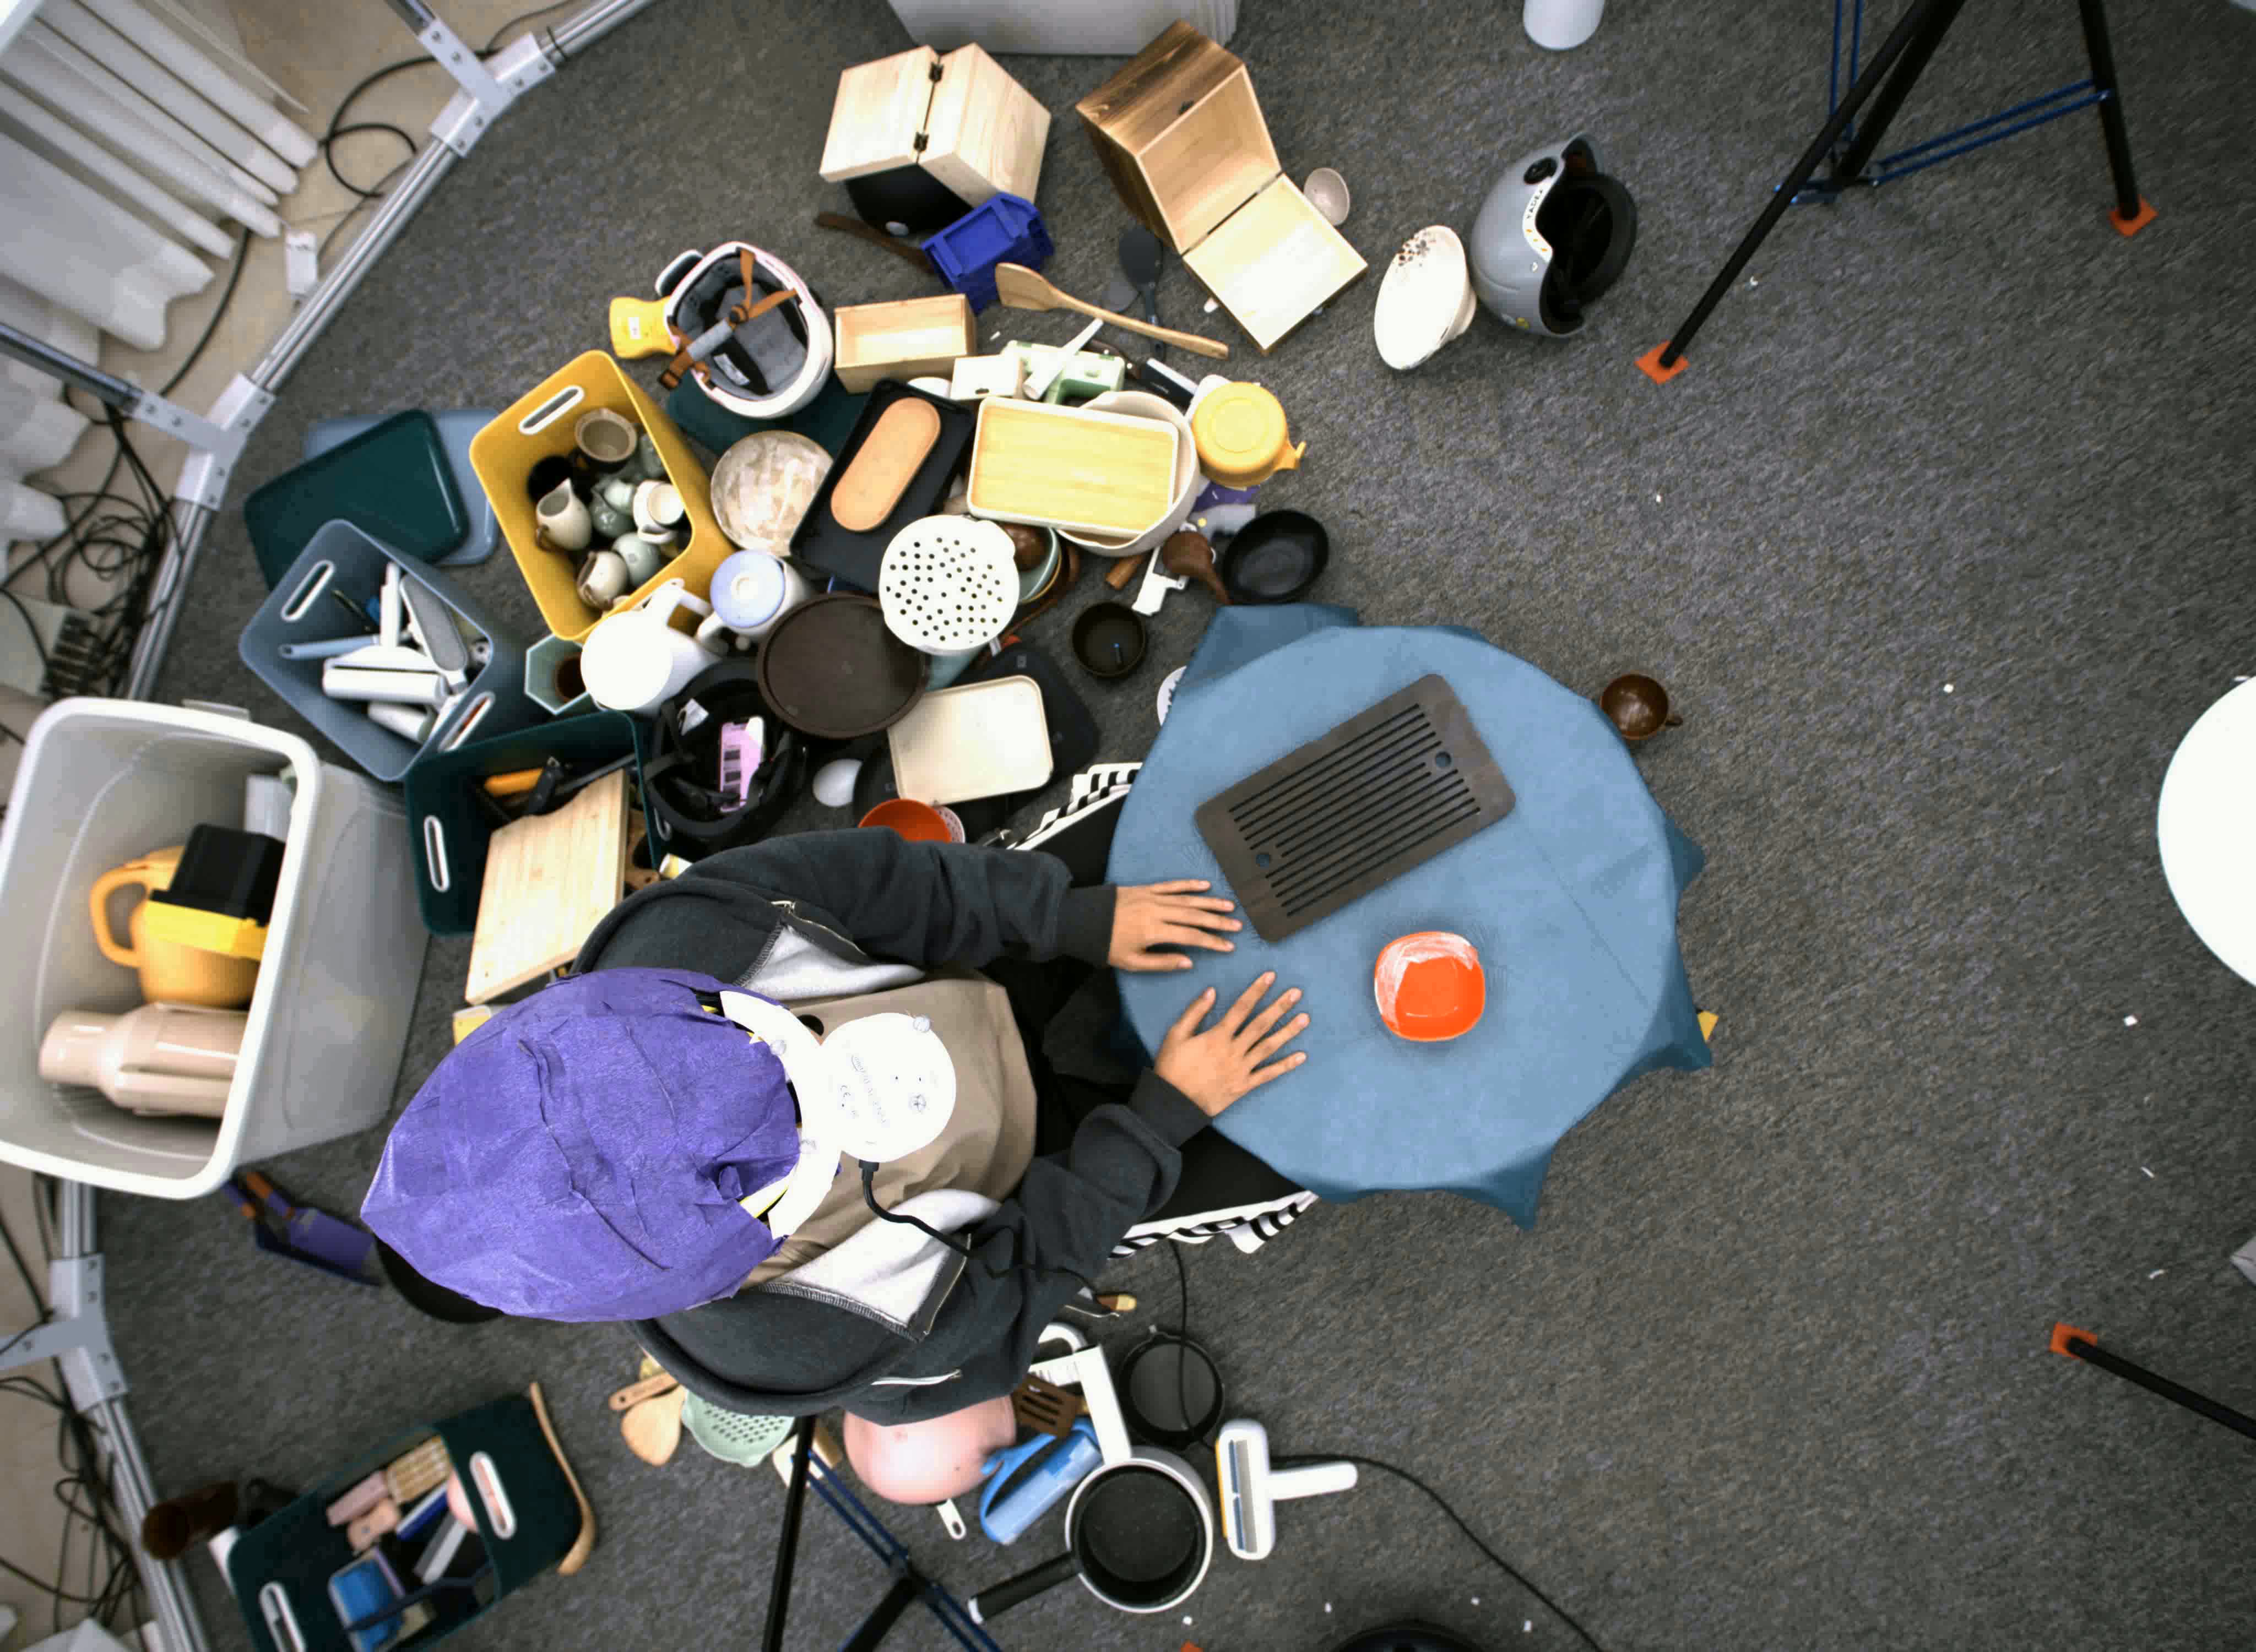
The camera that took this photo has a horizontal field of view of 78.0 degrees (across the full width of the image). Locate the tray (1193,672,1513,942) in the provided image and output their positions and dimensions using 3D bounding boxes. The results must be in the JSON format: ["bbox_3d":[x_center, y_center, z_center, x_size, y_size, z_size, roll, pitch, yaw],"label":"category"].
[{"bbox_3d":[0.236,-0.021,1.462,0.308,0.018,0.169,-30,82,8],"label":"tray"}]

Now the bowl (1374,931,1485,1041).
[{"bbox_3d":[0.308,0.163,1.420,0.119,0.051,0.118,-1,87,9],"label":"bowl"}]
